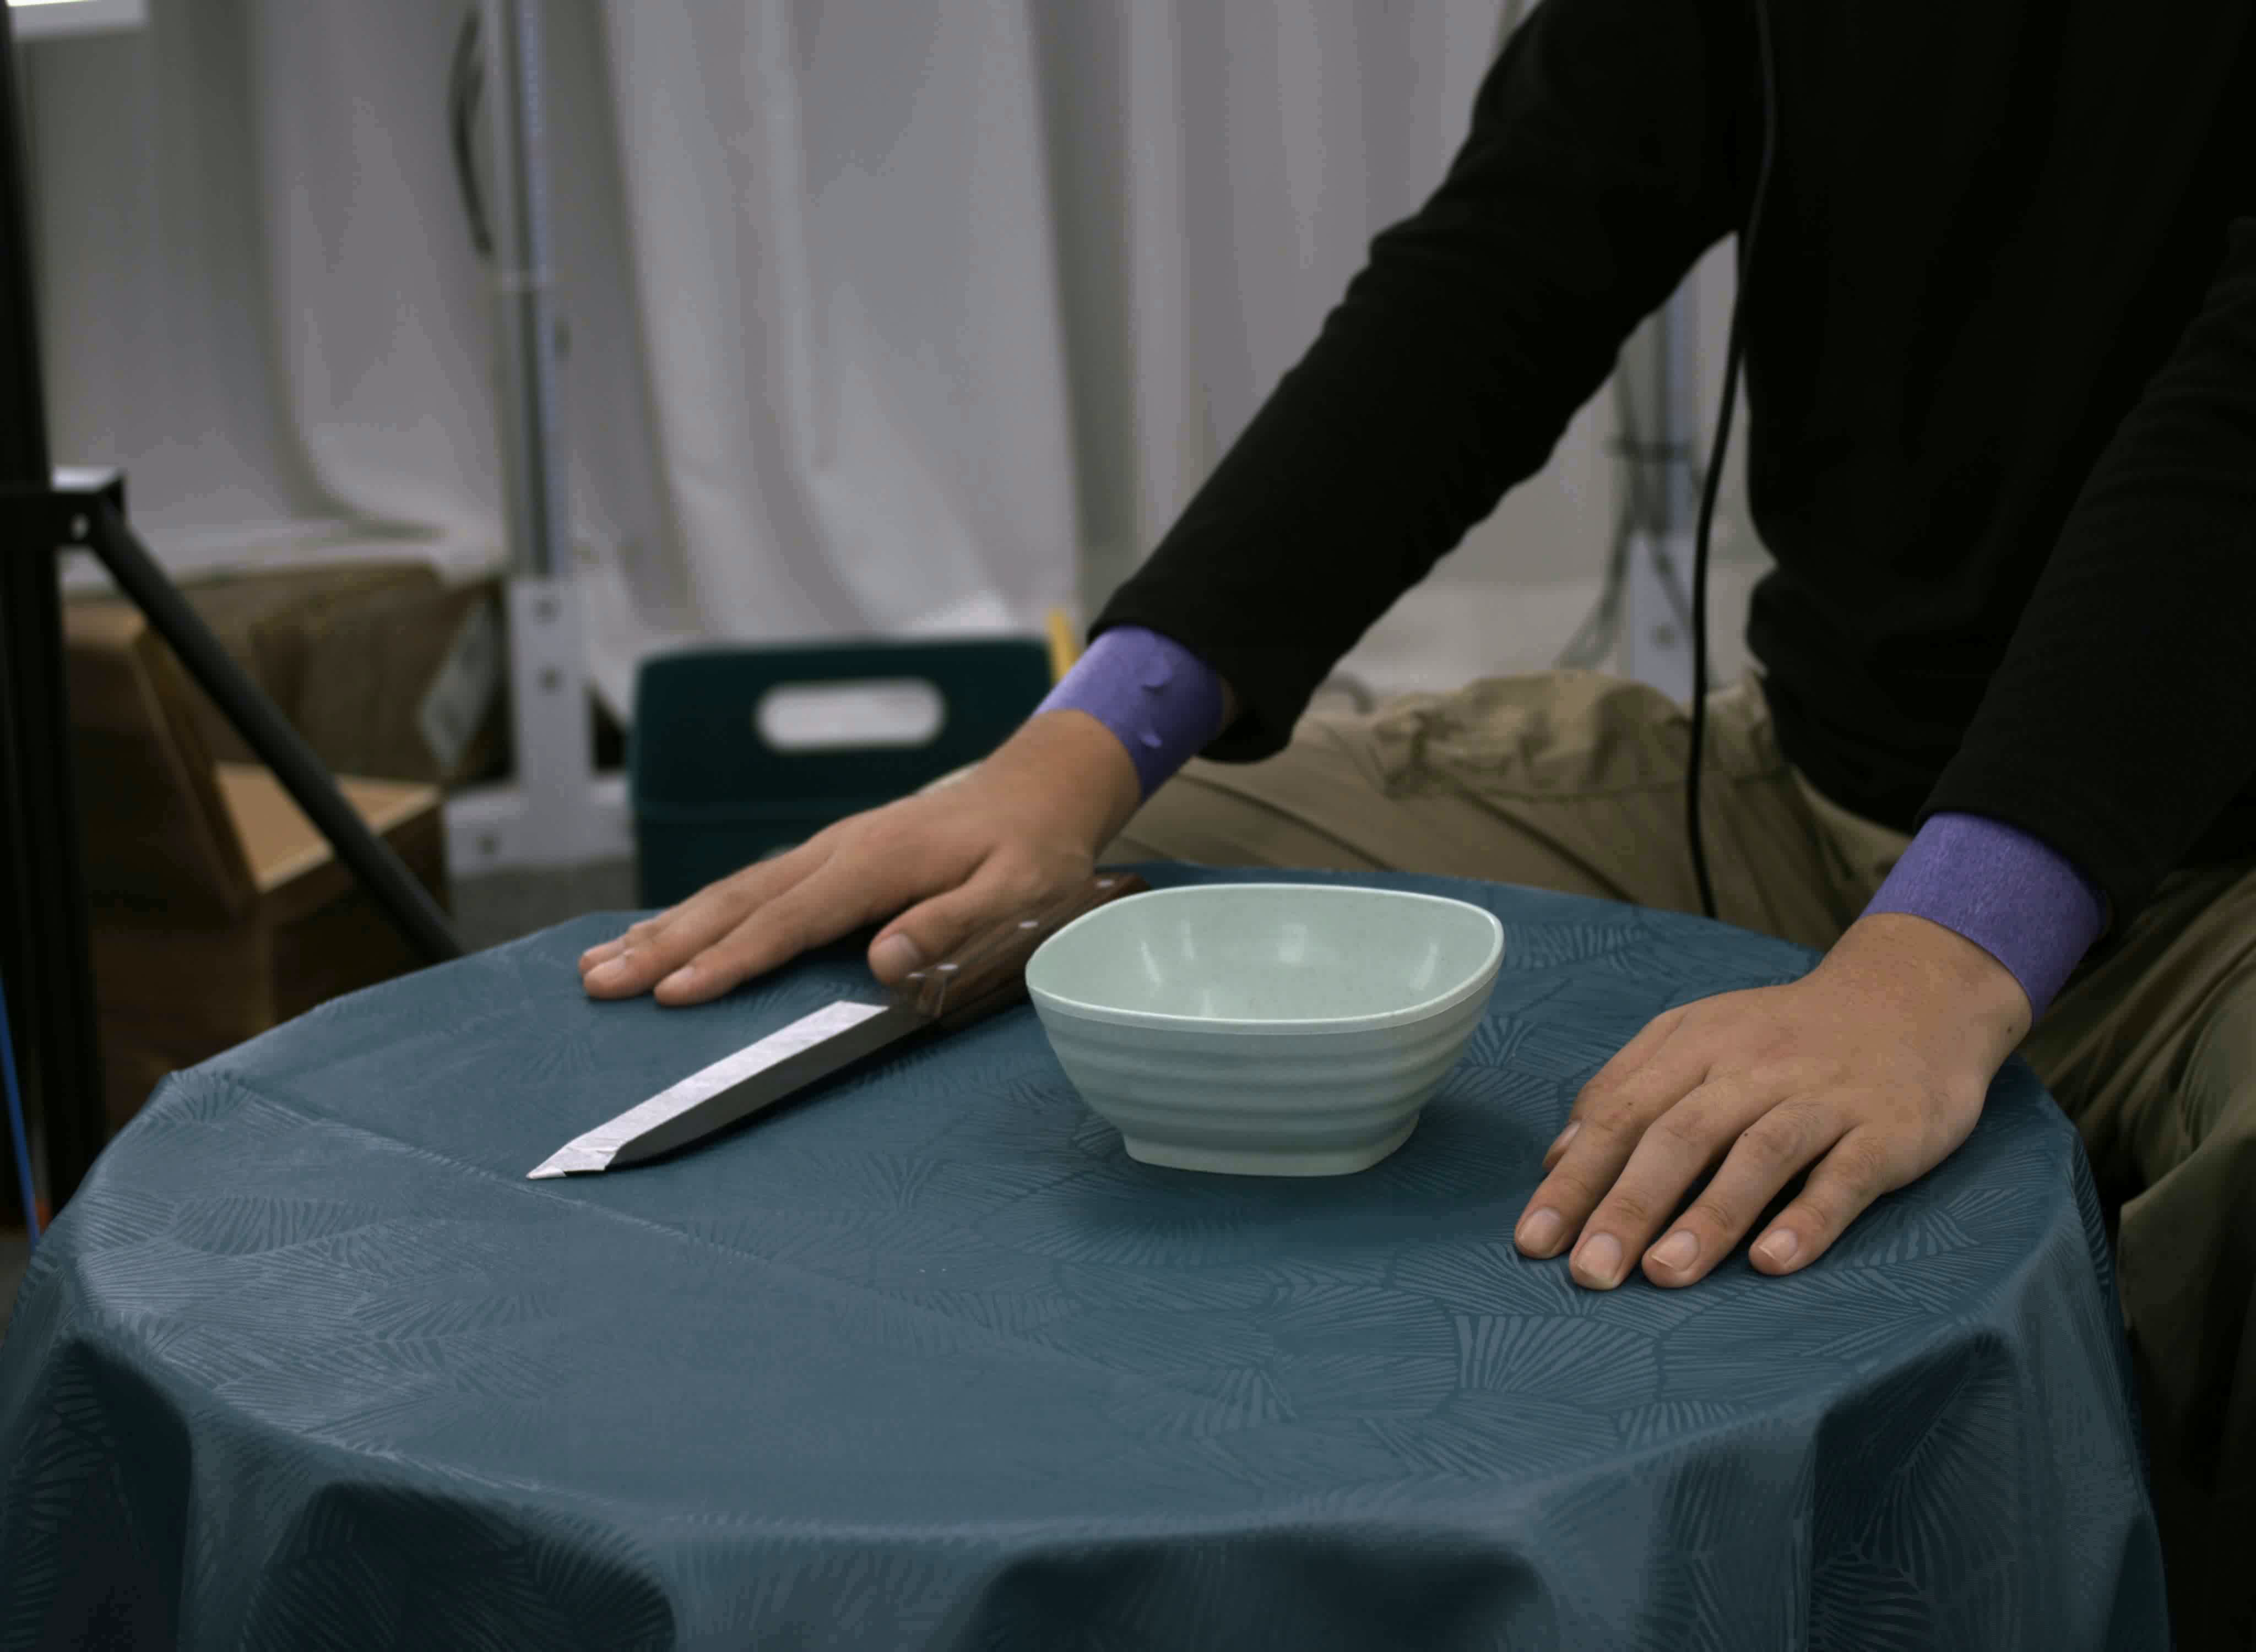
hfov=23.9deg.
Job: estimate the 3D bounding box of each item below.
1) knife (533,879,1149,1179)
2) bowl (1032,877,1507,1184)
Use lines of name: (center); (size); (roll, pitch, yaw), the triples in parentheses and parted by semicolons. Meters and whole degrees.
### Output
knife: (-0.086, 0.066, 1.692); (0.051, 0.020, 0.283); (4, 19, 40)
bowl: (0.044, 0.065, 1.596); (0.151, 0.058, 0.152); (-4, 18, 0)
